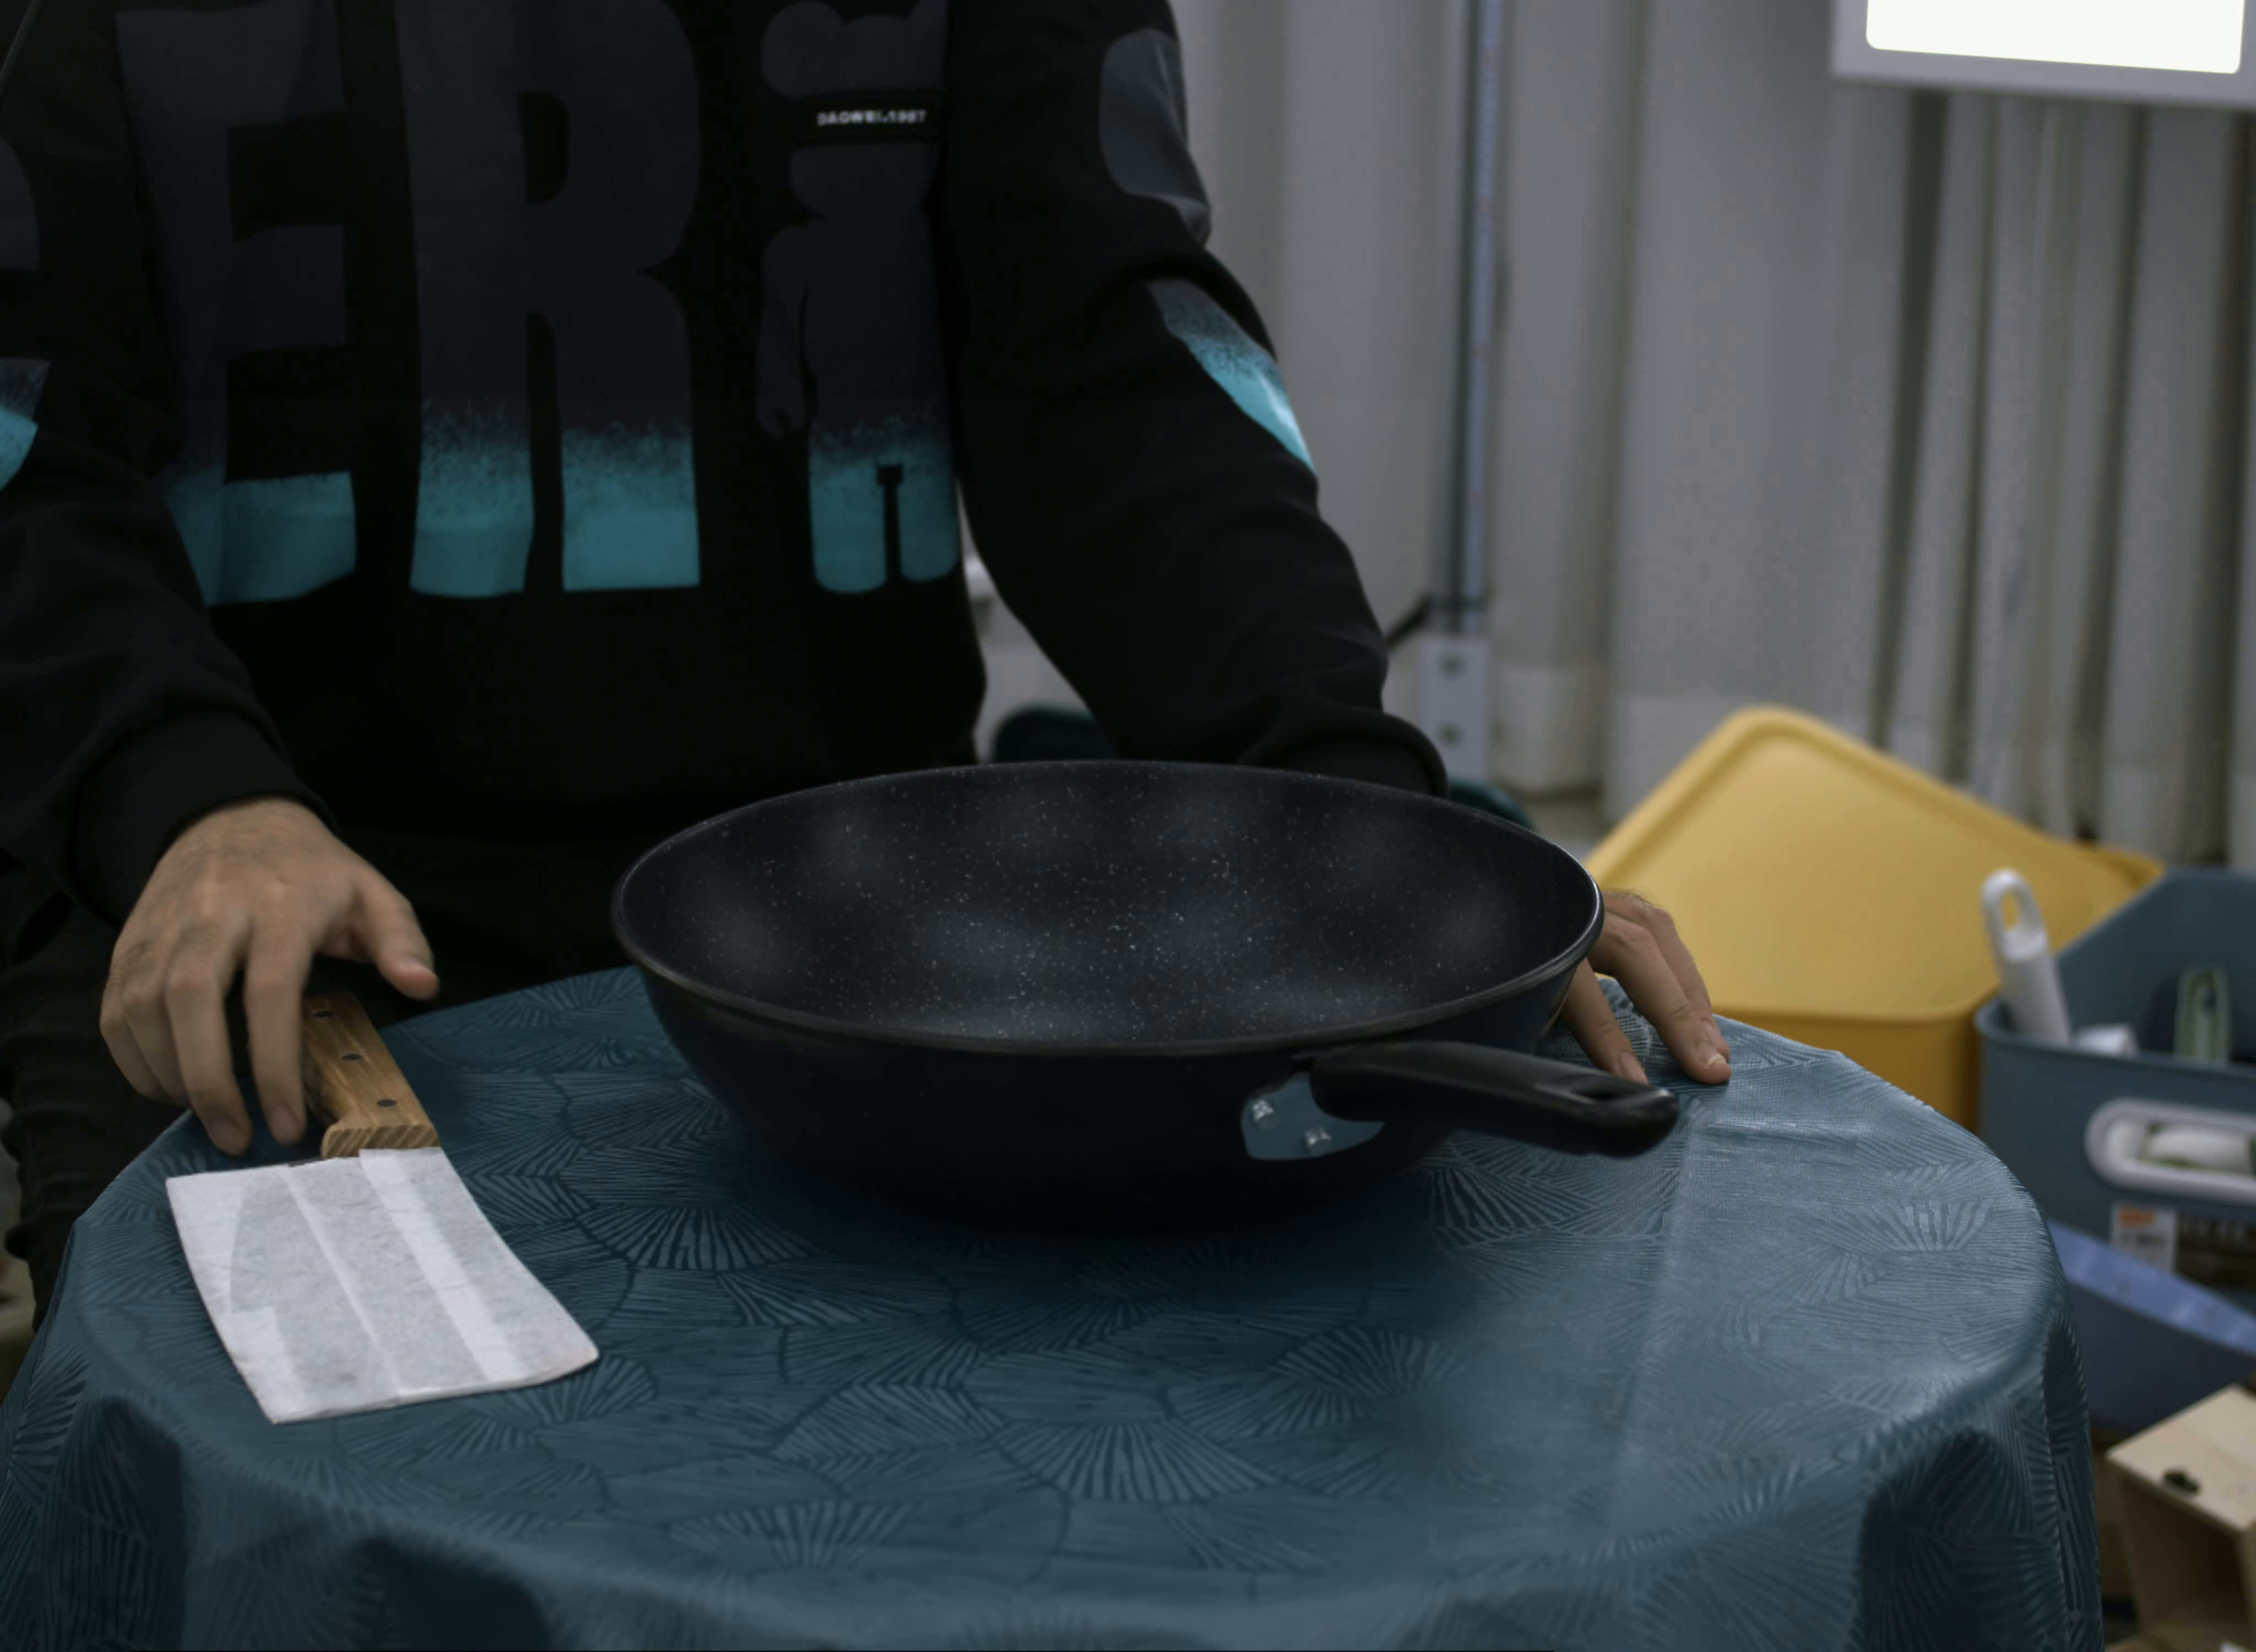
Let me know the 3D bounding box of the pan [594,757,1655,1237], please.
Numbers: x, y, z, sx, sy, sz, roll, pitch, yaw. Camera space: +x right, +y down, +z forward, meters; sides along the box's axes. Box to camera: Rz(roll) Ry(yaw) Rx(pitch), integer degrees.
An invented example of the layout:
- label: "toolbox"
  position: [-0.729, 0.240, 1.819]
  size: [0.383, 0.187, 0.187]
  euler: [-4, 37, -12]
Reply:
- label: "pan"
  position: [0.026, 0.069, 1.580]
  size: [0.311, 0.112, 0.471]
  euler: [-9, 18, -25]

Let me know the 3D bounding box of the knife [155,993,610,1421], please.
- label: "knife"
  position: [-0.234, 0.112, 1.585]
  size: [0.114, 0.022, 0.312]
  euler: [-4, 19, -15]
